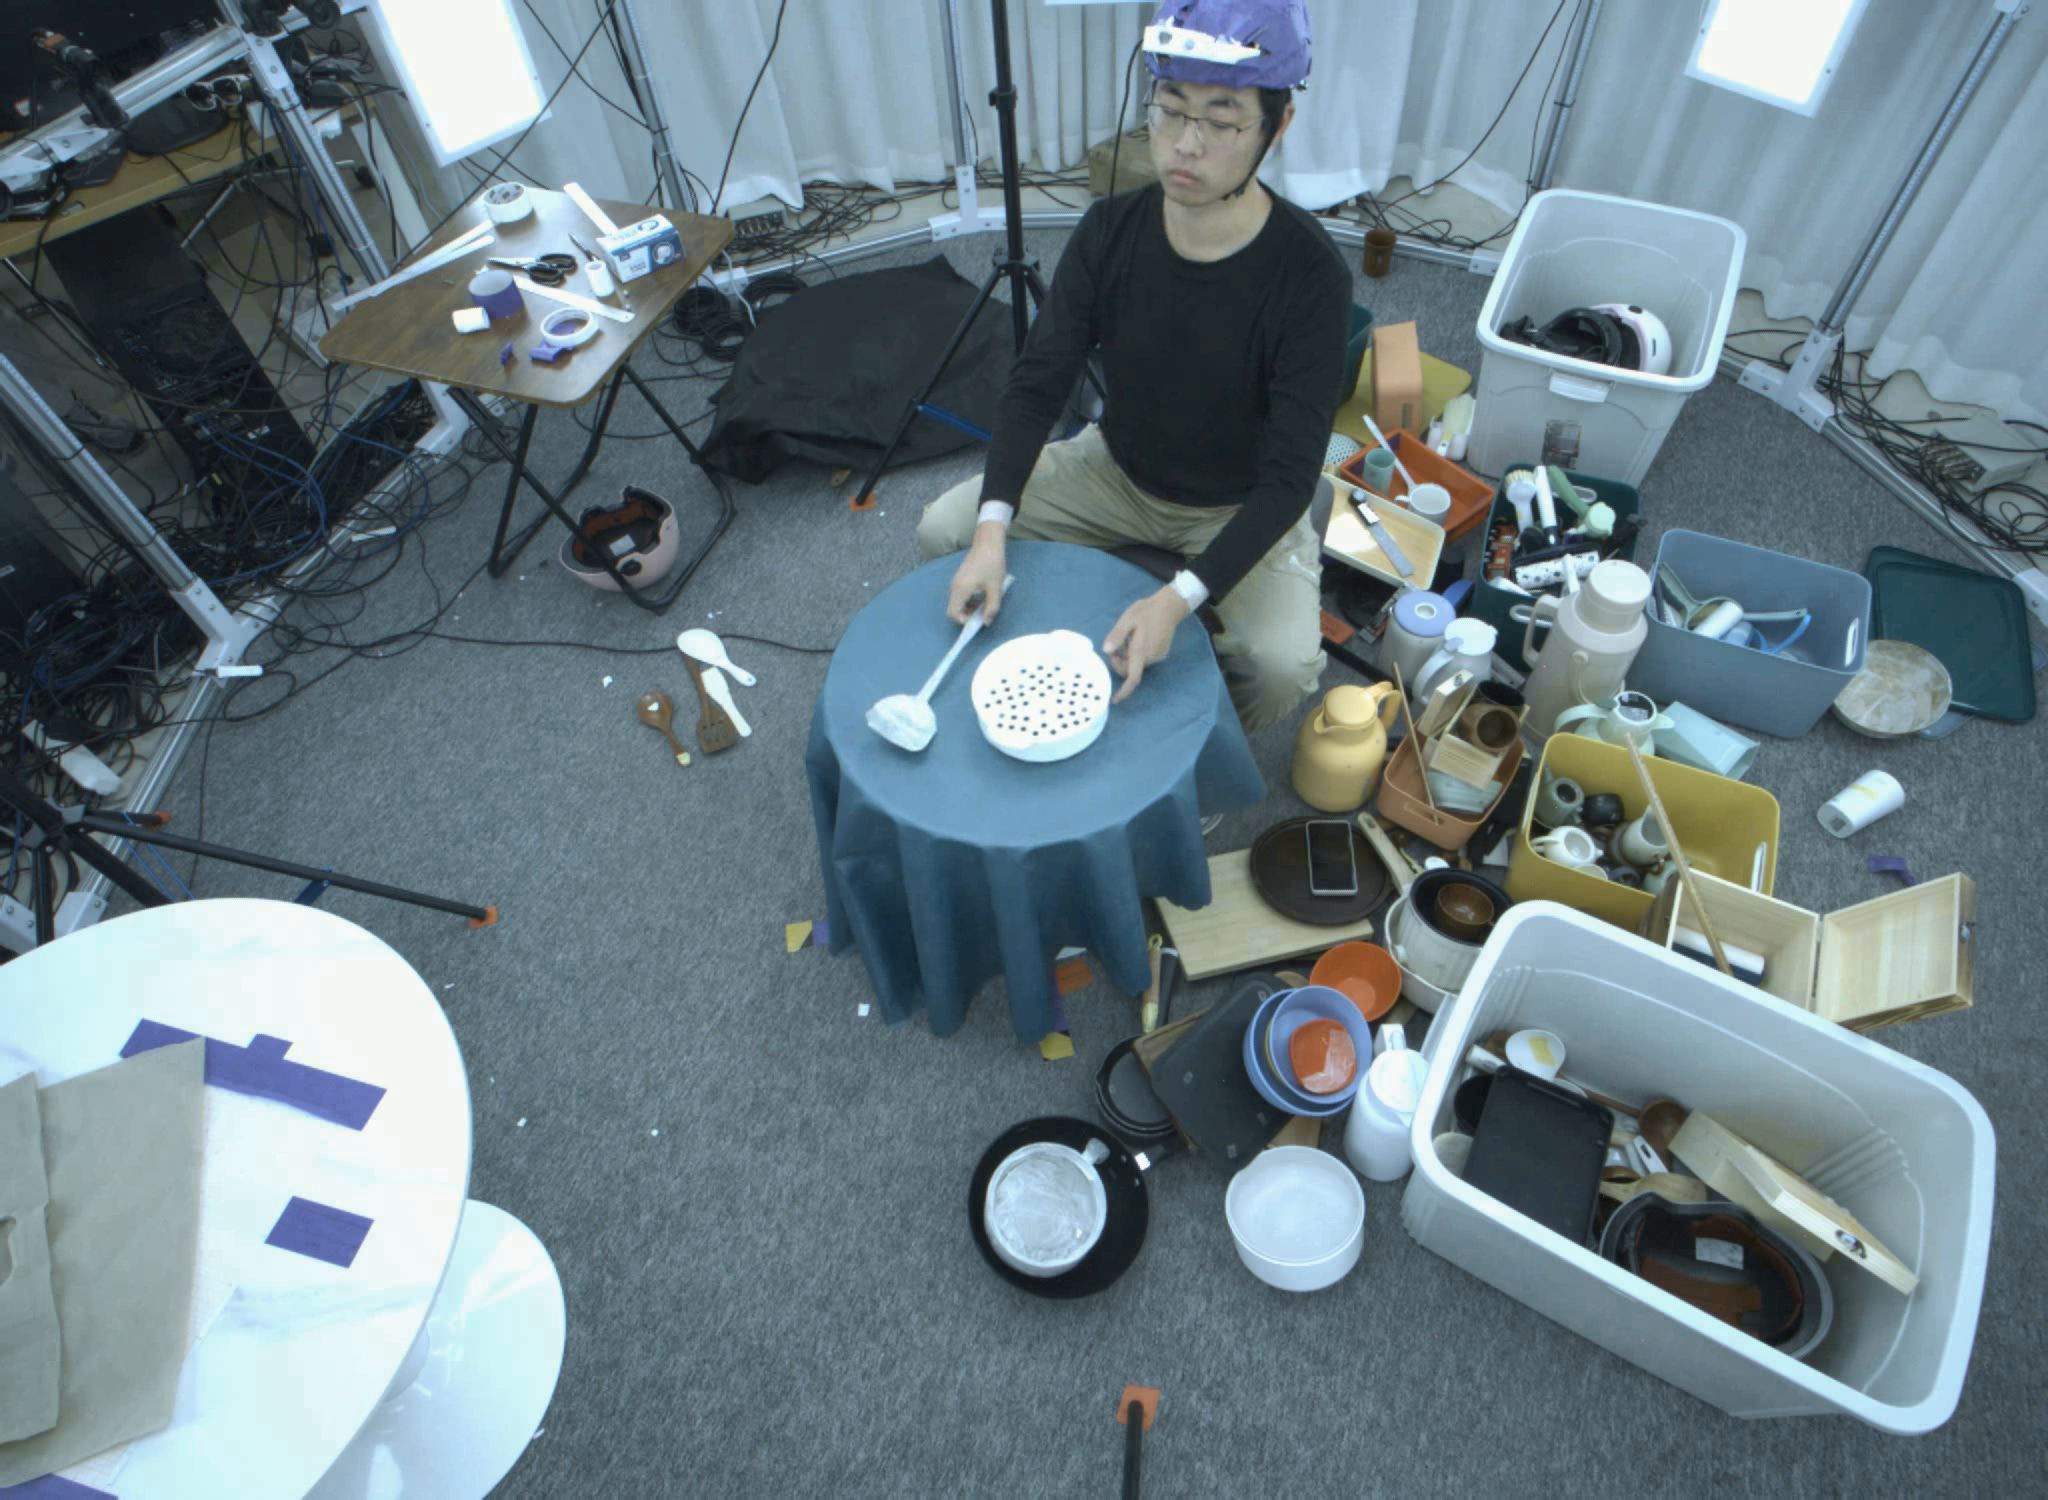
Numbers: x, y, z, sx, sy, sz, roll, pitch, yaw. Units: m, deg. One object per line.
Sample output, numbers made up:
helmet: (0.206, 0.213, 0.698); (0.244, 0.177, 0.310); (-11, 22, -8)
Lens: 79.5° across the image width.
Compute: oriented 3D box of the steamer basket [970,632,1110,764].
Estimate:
steamer basket: (0.024, -0.071, 1.795); (0.199, 0.070, 0.231); (23, 57, 16)

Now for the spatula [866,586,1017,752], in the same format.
spatula: (-0.108, -0.139, 1.856); (0.098, 0.045, 0.365); (32, 63, 4)
